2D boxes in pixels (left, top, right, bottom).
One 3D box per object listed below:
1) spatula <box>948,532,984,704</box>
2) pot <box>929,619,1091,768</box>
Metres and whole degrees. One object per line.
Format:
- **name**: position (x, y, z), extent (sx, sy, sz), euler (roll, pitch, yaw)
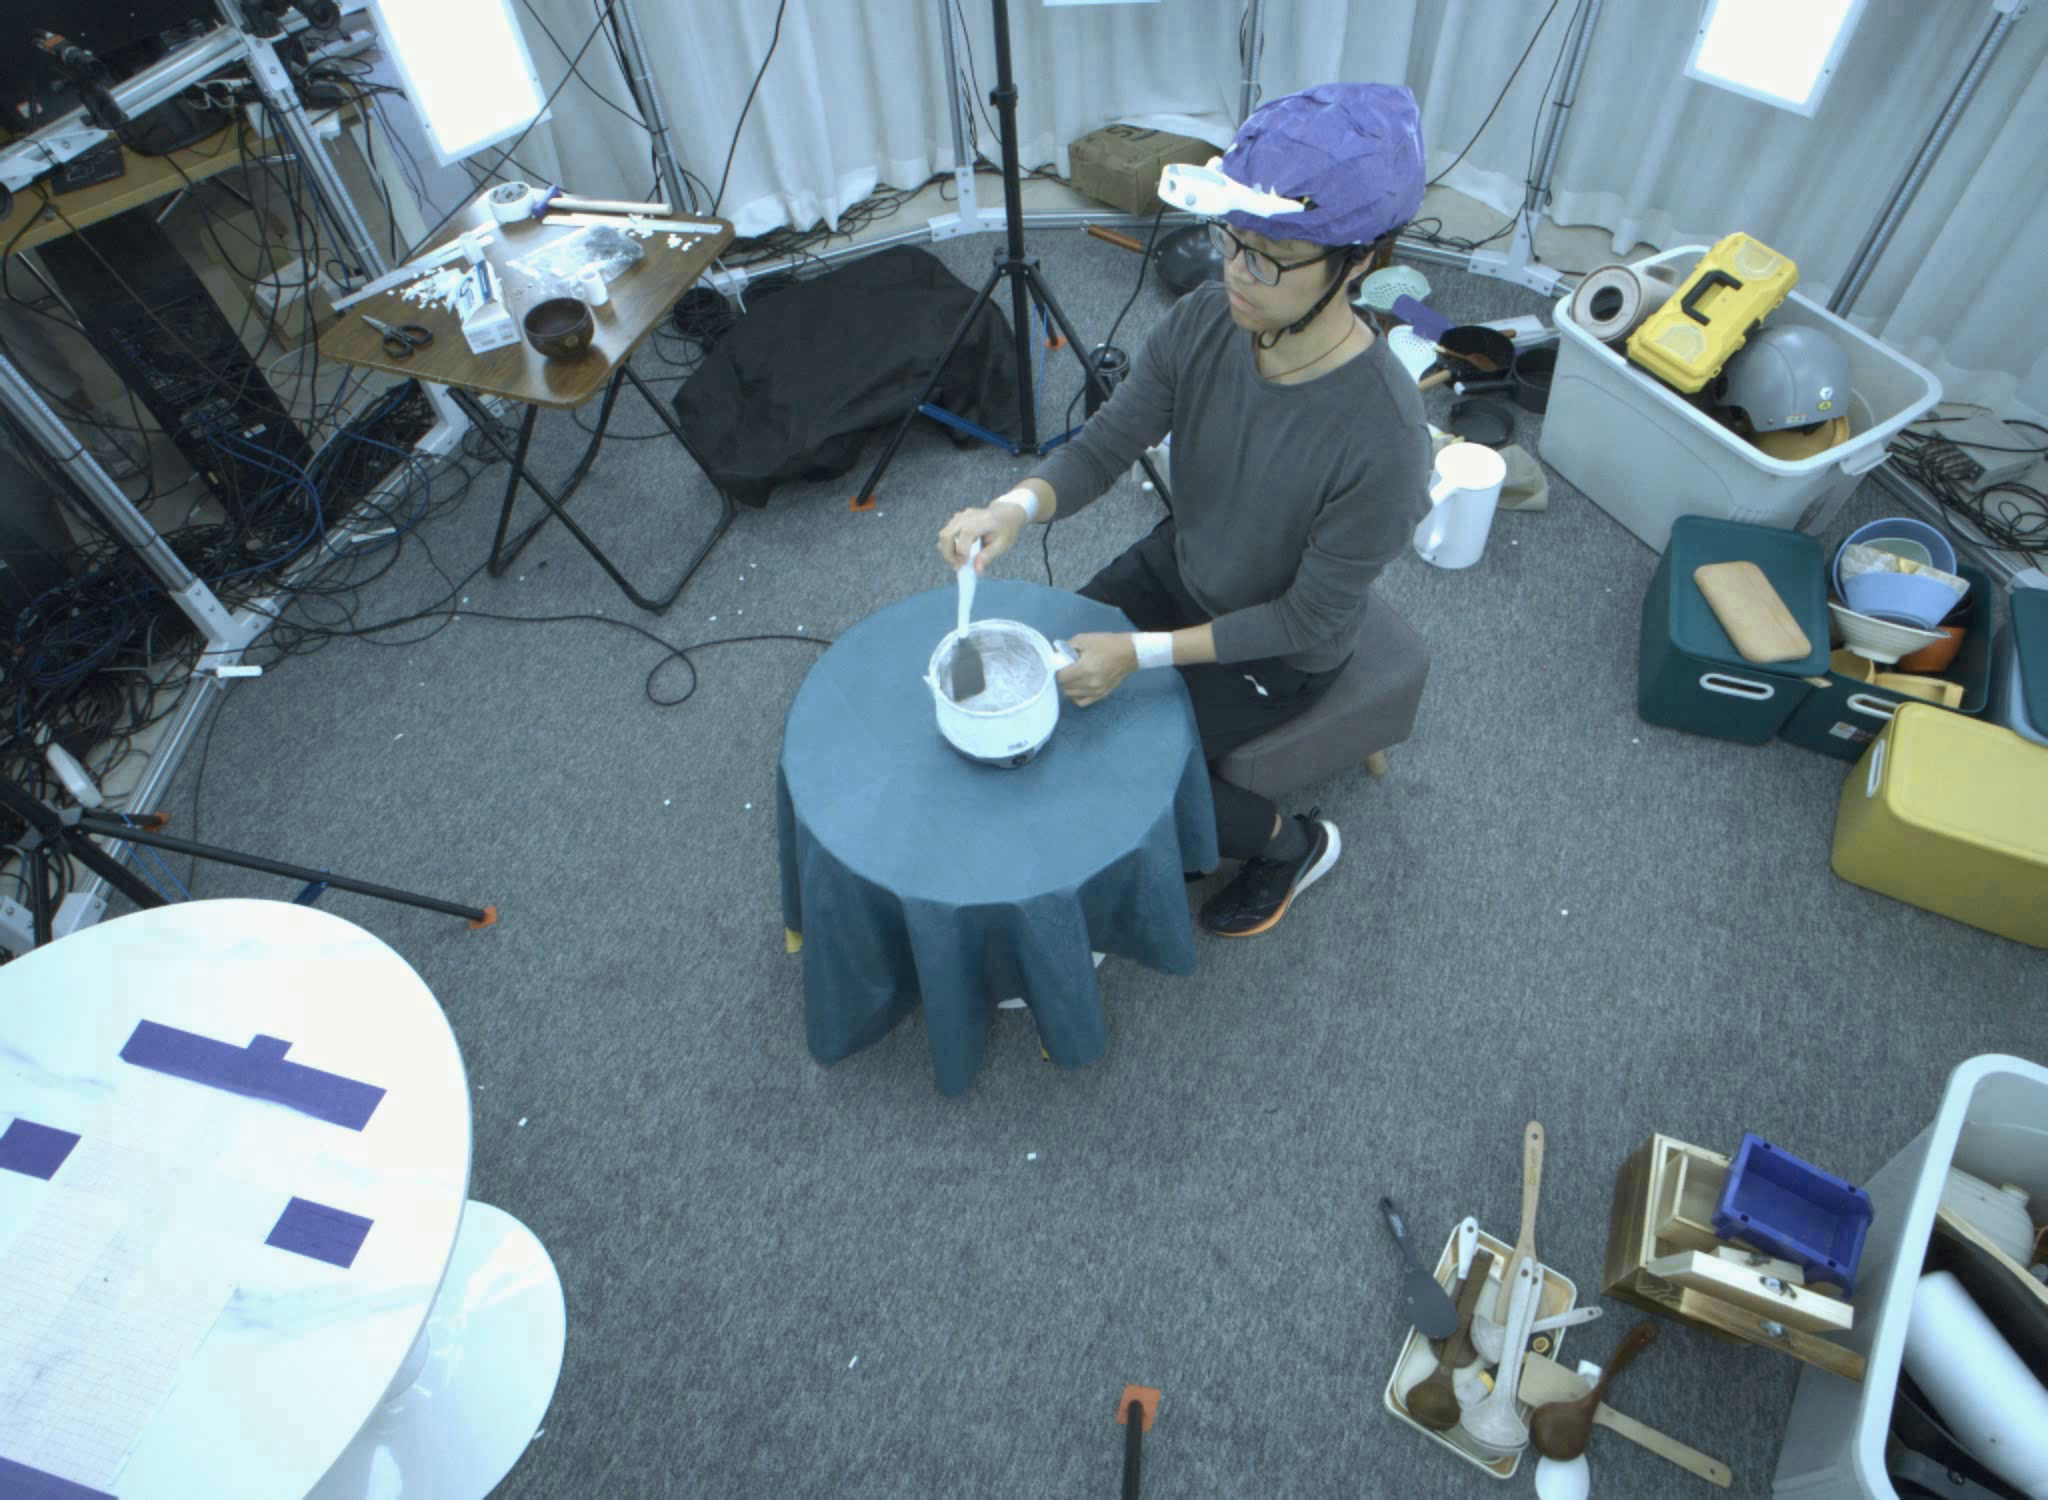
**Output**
- **spatula**: position (-0.078, -0.170, 1.650), extent (0.059, 0.290, 0.031), euler (-26, 55, -25)
- **pot**: position (-0.016, -0.089, 1.776), extent (0.235, 0.138, 0.175), euler (-20, 56, -12)
